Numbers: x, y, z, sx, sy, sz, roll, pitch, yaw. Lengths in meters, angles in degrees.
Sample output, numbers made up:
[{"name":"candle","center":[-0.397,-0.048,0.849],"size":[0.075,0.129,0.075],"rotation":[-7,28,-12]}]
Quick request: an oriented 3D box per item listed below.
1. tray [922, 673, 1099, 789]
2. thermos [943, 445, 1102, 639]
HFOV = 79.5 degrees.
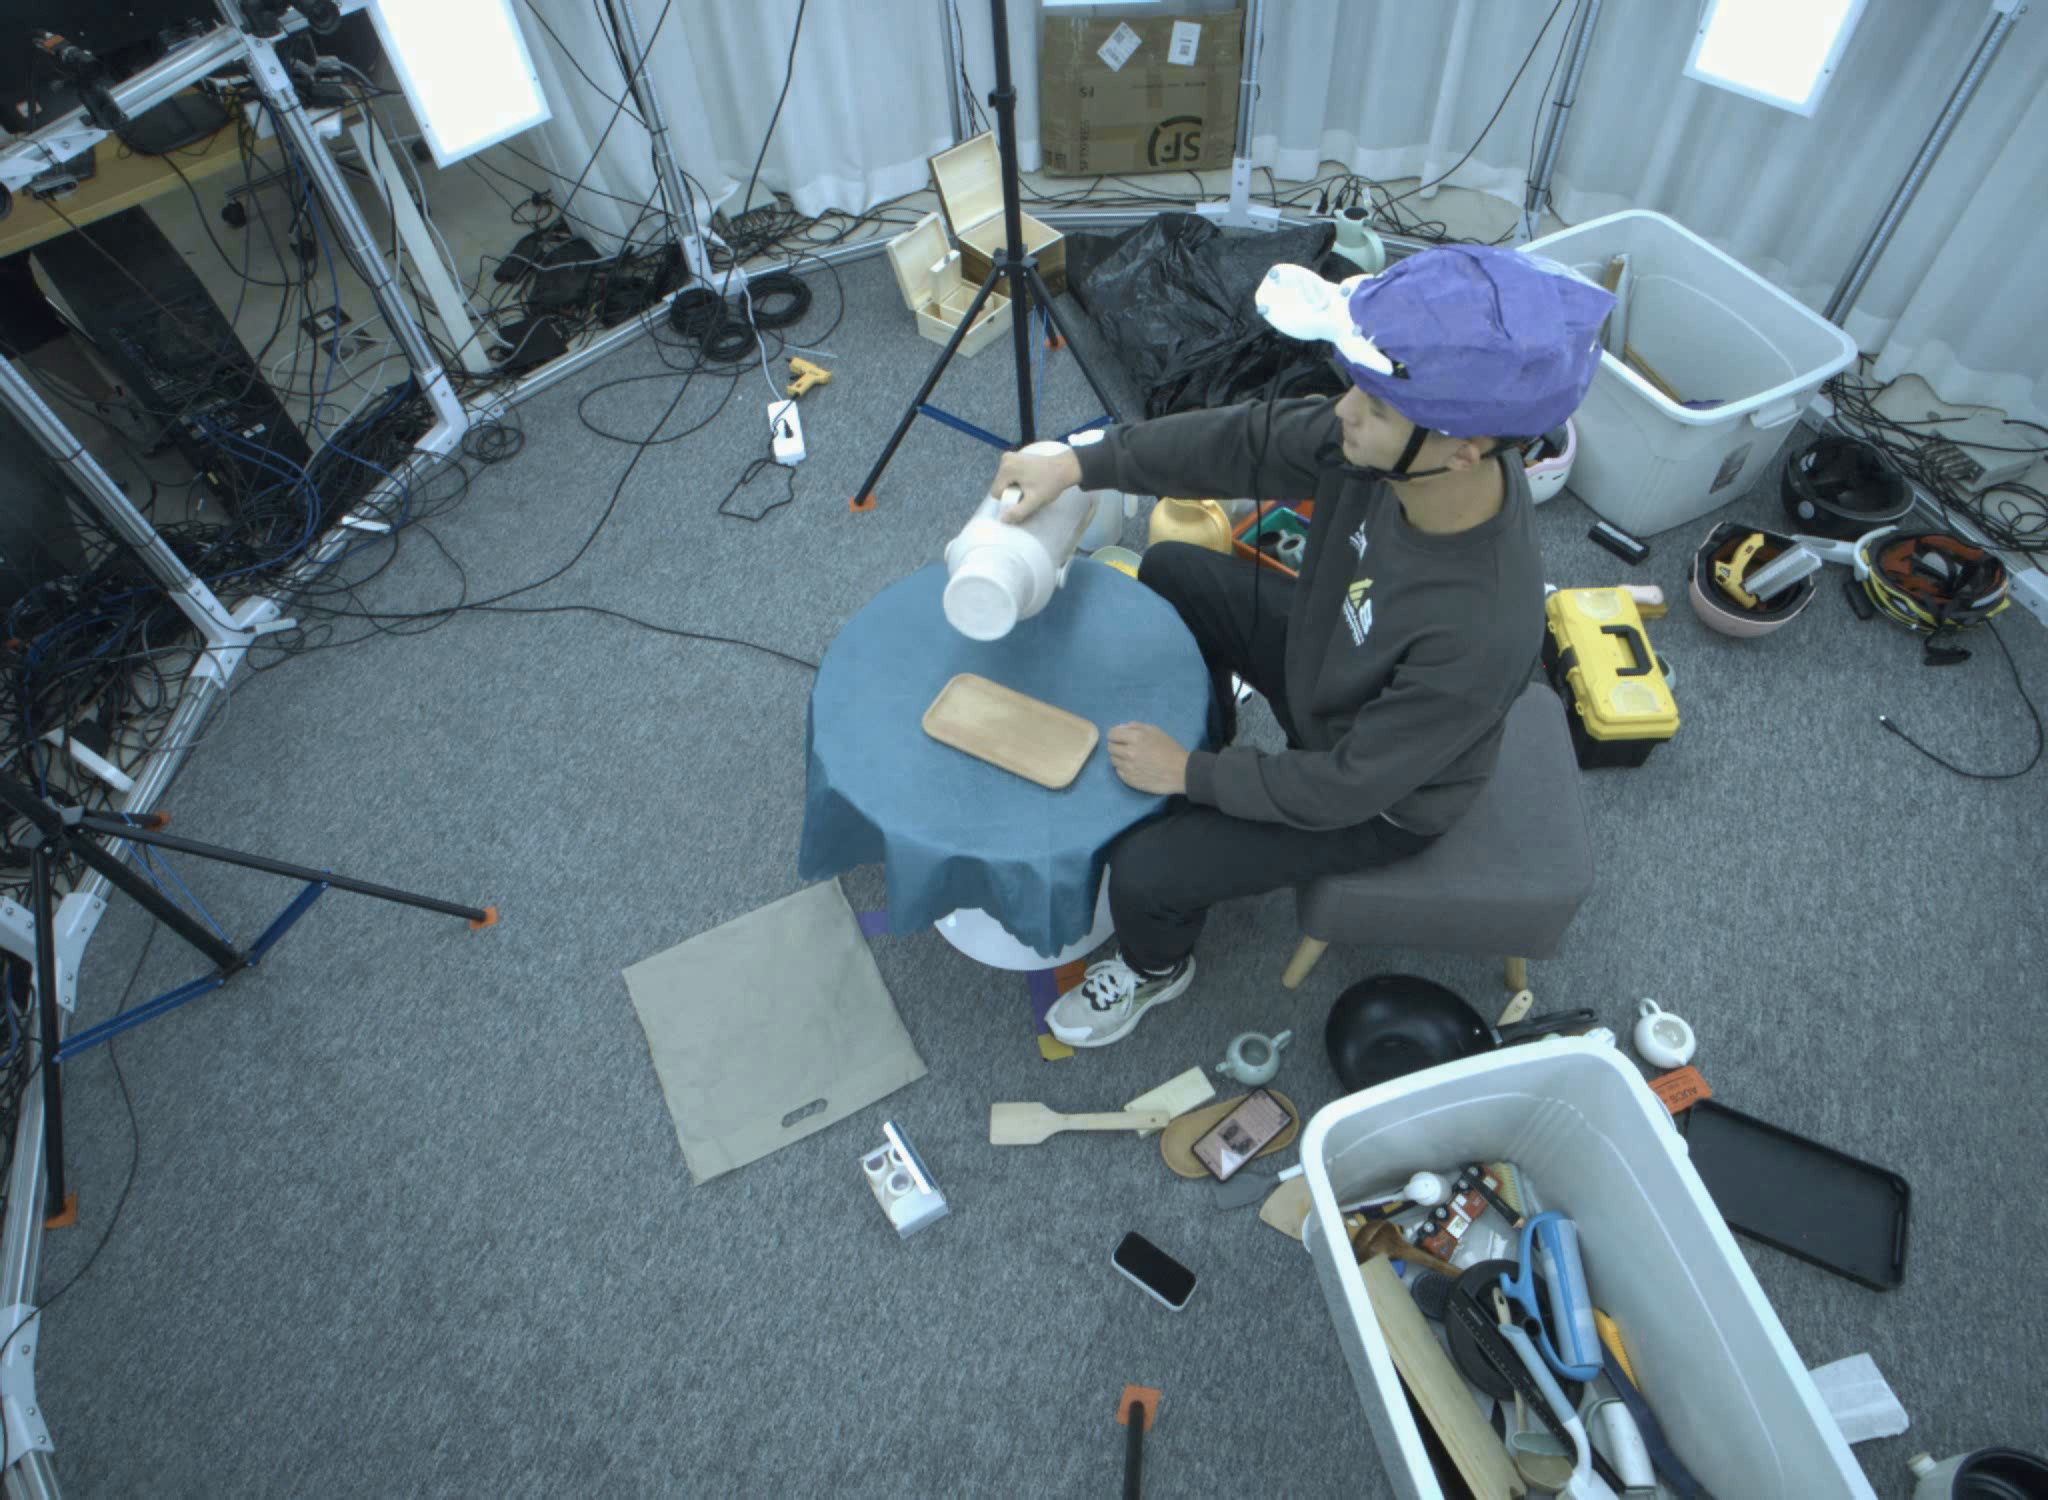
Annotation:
[{"name":"tray","center":[-0.020,-0.029,1.796],"size":[0.247,0.023,0.131],"rotation":[24,61,17]},{"name":"thermos","center":[-0.003,-0.314,1.778],"size":[0.174,0.208,0.406],"rotation":[14,37,9]}]
